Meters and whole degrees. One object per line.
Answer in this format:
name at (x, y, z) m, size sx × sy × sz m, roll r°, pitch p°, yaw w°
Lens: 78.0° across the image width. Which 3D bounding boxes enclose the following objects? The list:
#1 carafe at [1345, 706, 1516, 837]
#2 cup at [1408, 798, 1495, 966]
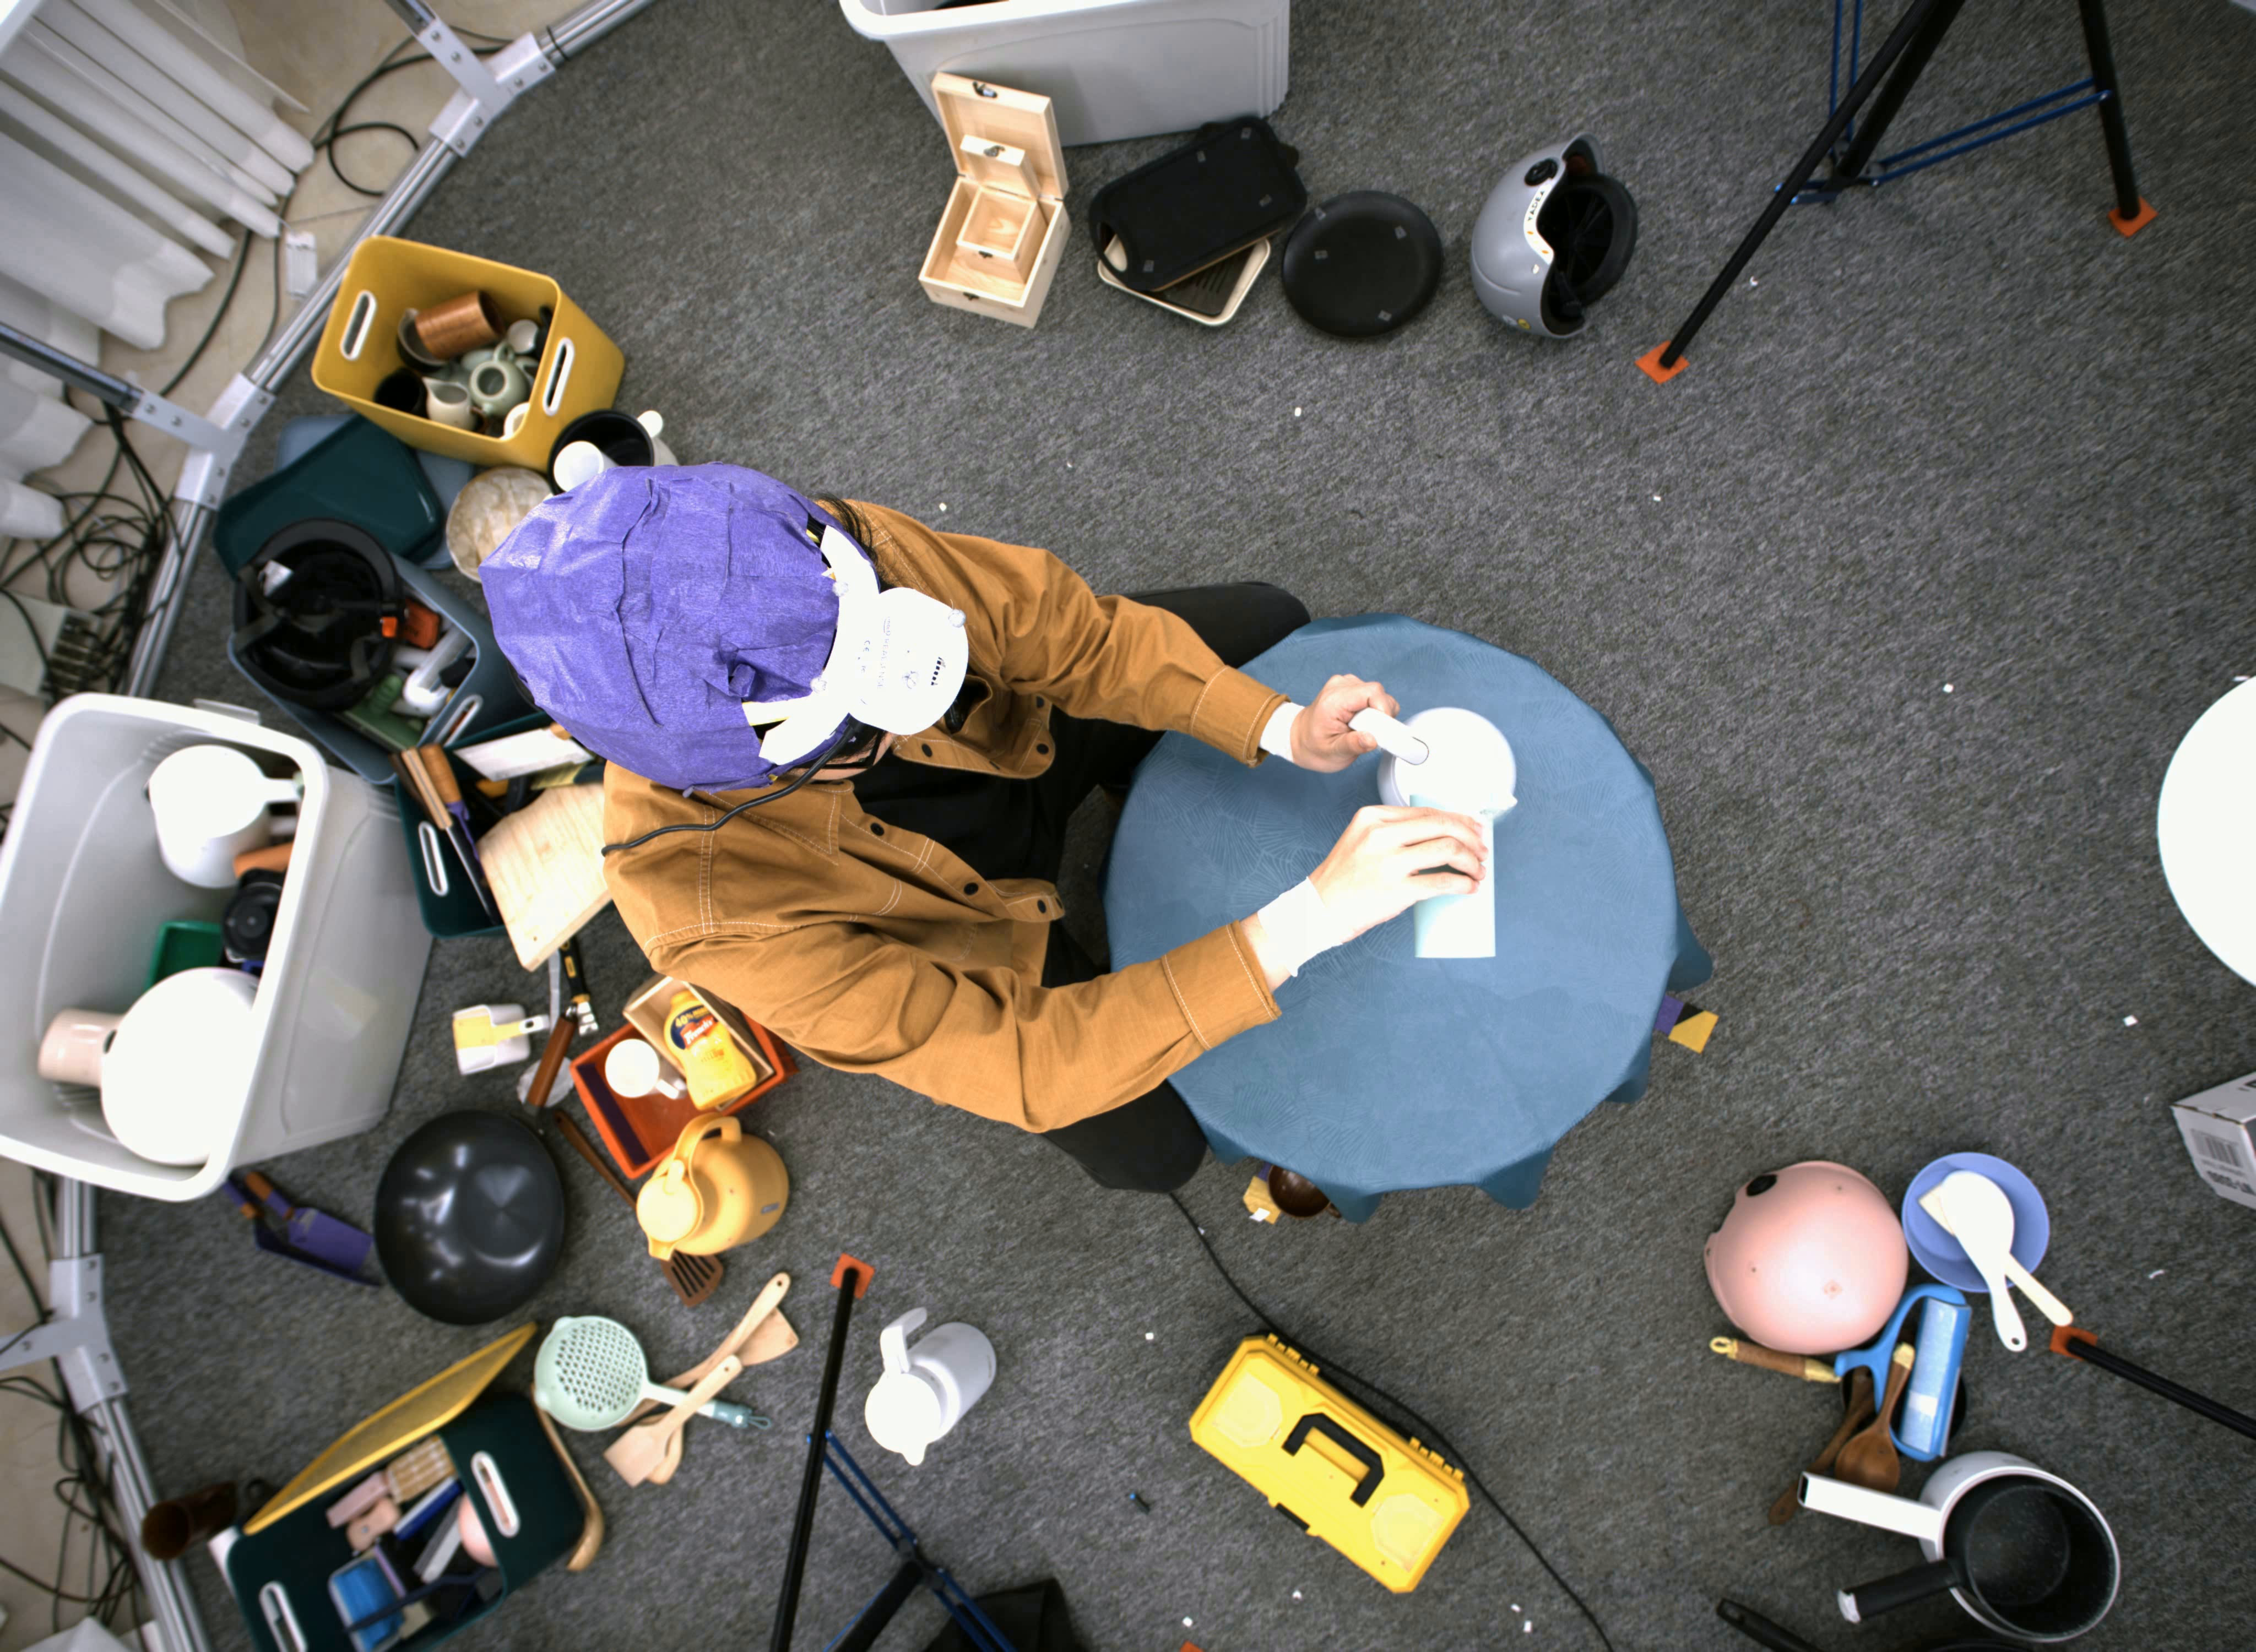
carafe at (0.278, -0.057, 1.277) m, size 0.167 × 0.247 × 0.133 m, roll 33°, pitch 98°, yaw 10°
cup at (0.259, 0.044, 1.102) m, size 0.067 × 0.066 × 0.132 m, roll -1°, pitch 88°, yaw 10°
